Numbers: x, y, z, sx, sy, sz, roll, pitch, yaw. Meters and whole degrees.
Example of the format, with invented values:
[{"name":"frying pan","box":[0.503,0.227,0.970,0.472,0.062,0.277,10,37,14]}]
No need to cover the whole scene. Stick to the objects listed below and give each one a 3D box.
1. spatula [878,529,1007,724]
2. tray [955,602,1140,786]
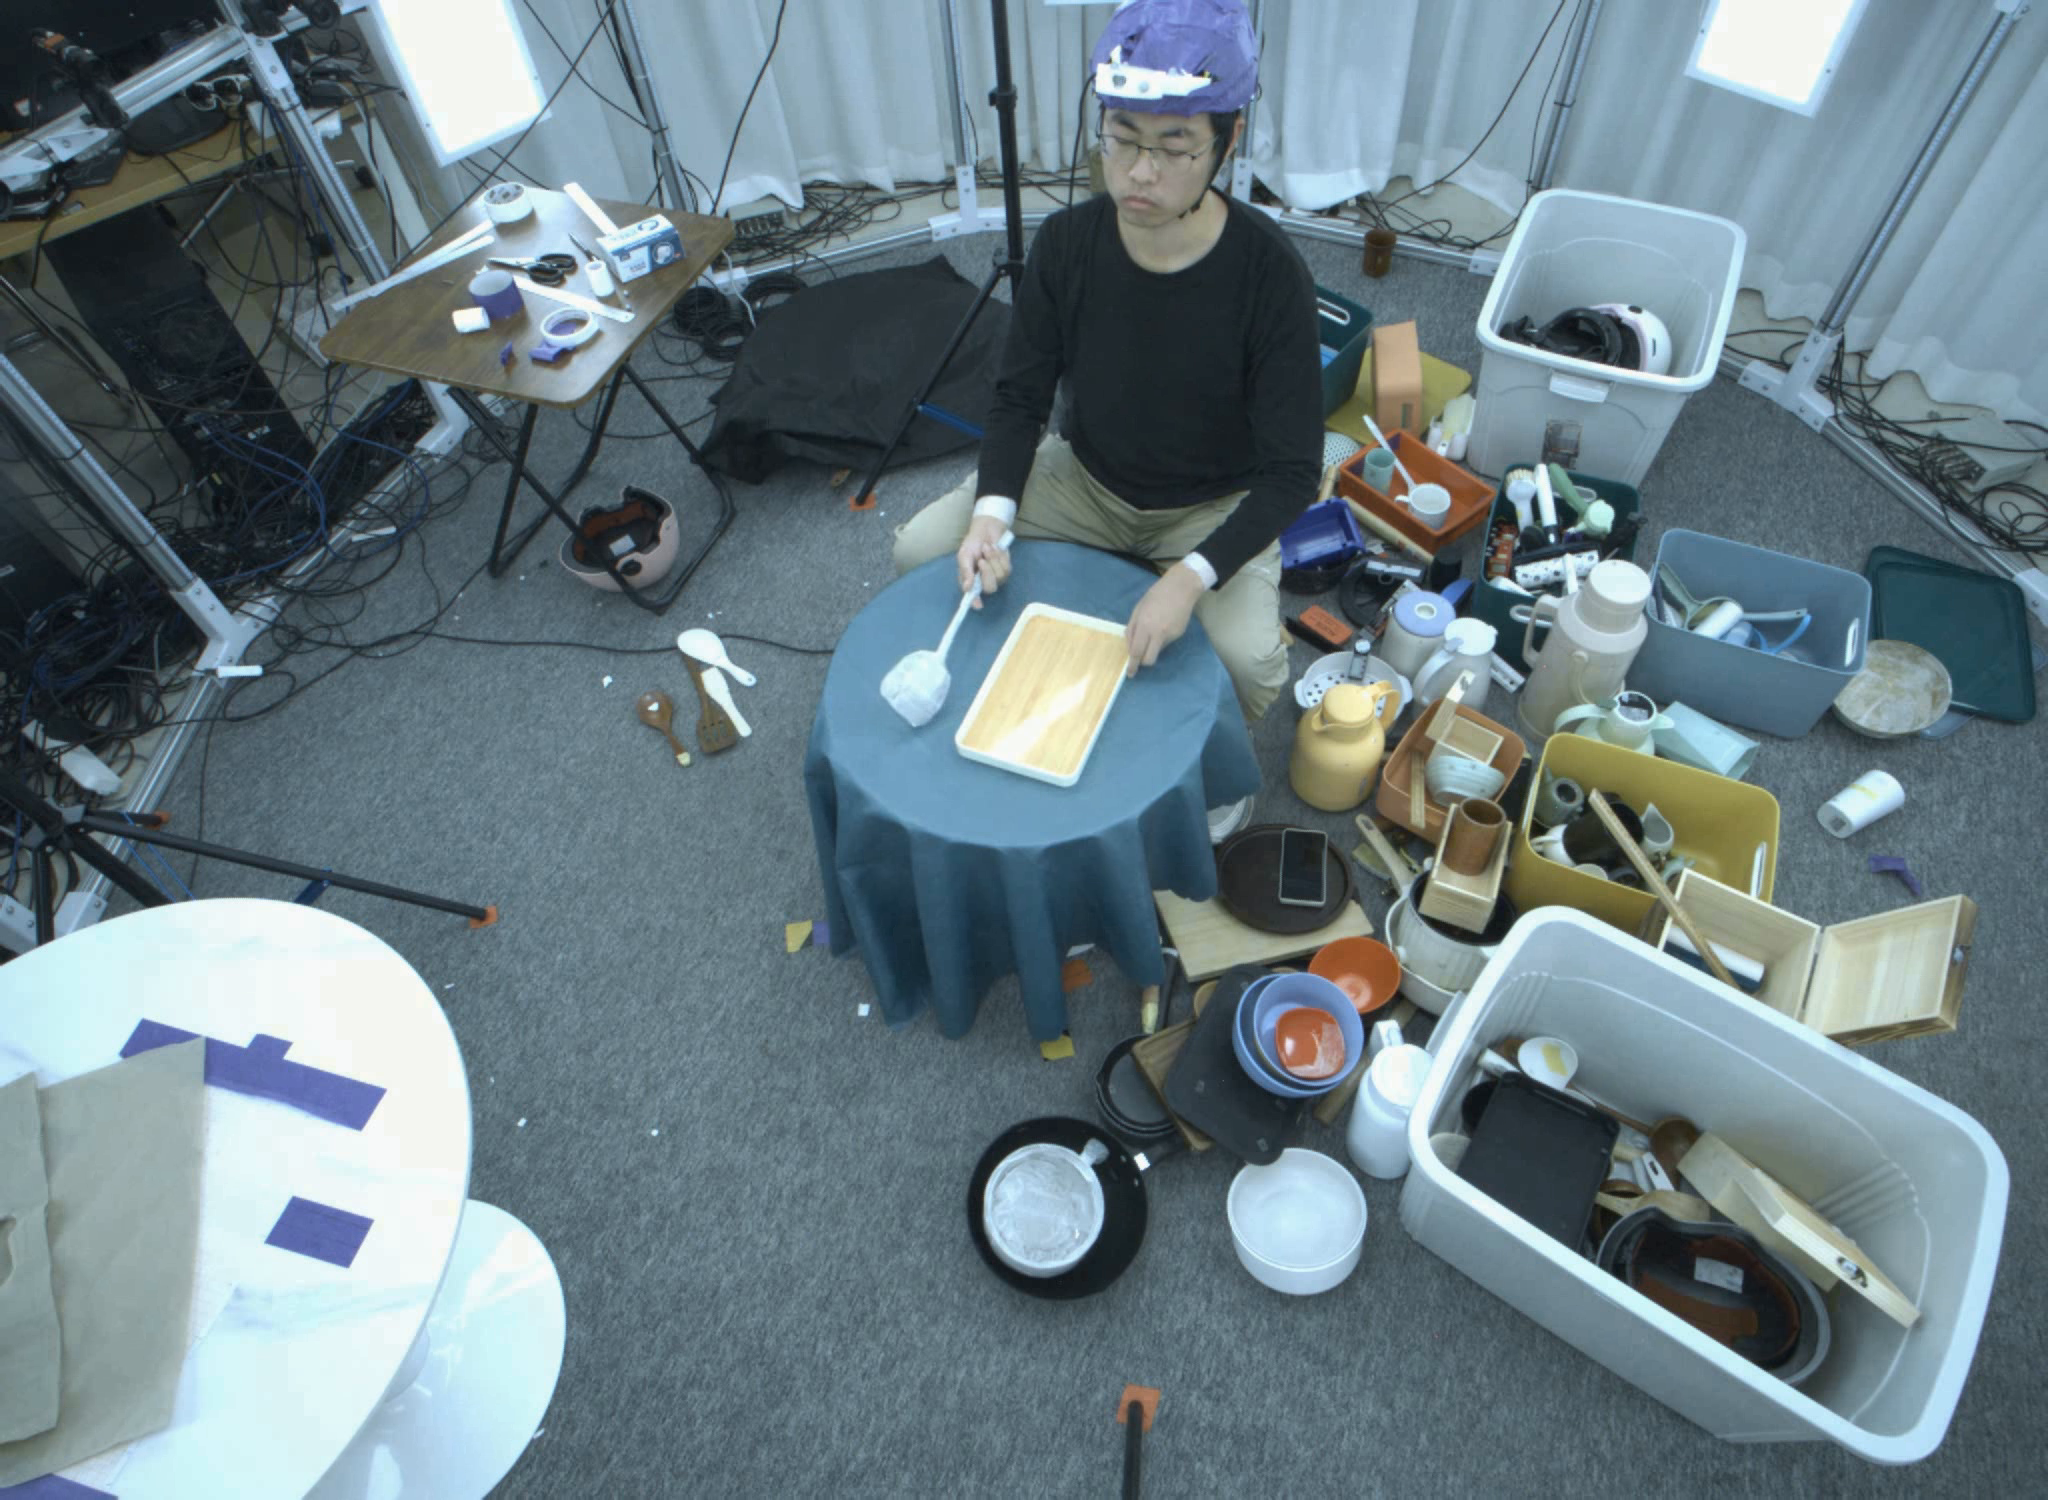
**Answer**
[{"name":"spatula","box":[-0.107,-0.199,1.847,0.044,0.101,0.364,-6,47,40]},{"name":"tray","box":[0.039,-0.089,1.833,0.189,0.028,0.300,18,57,14]}]
